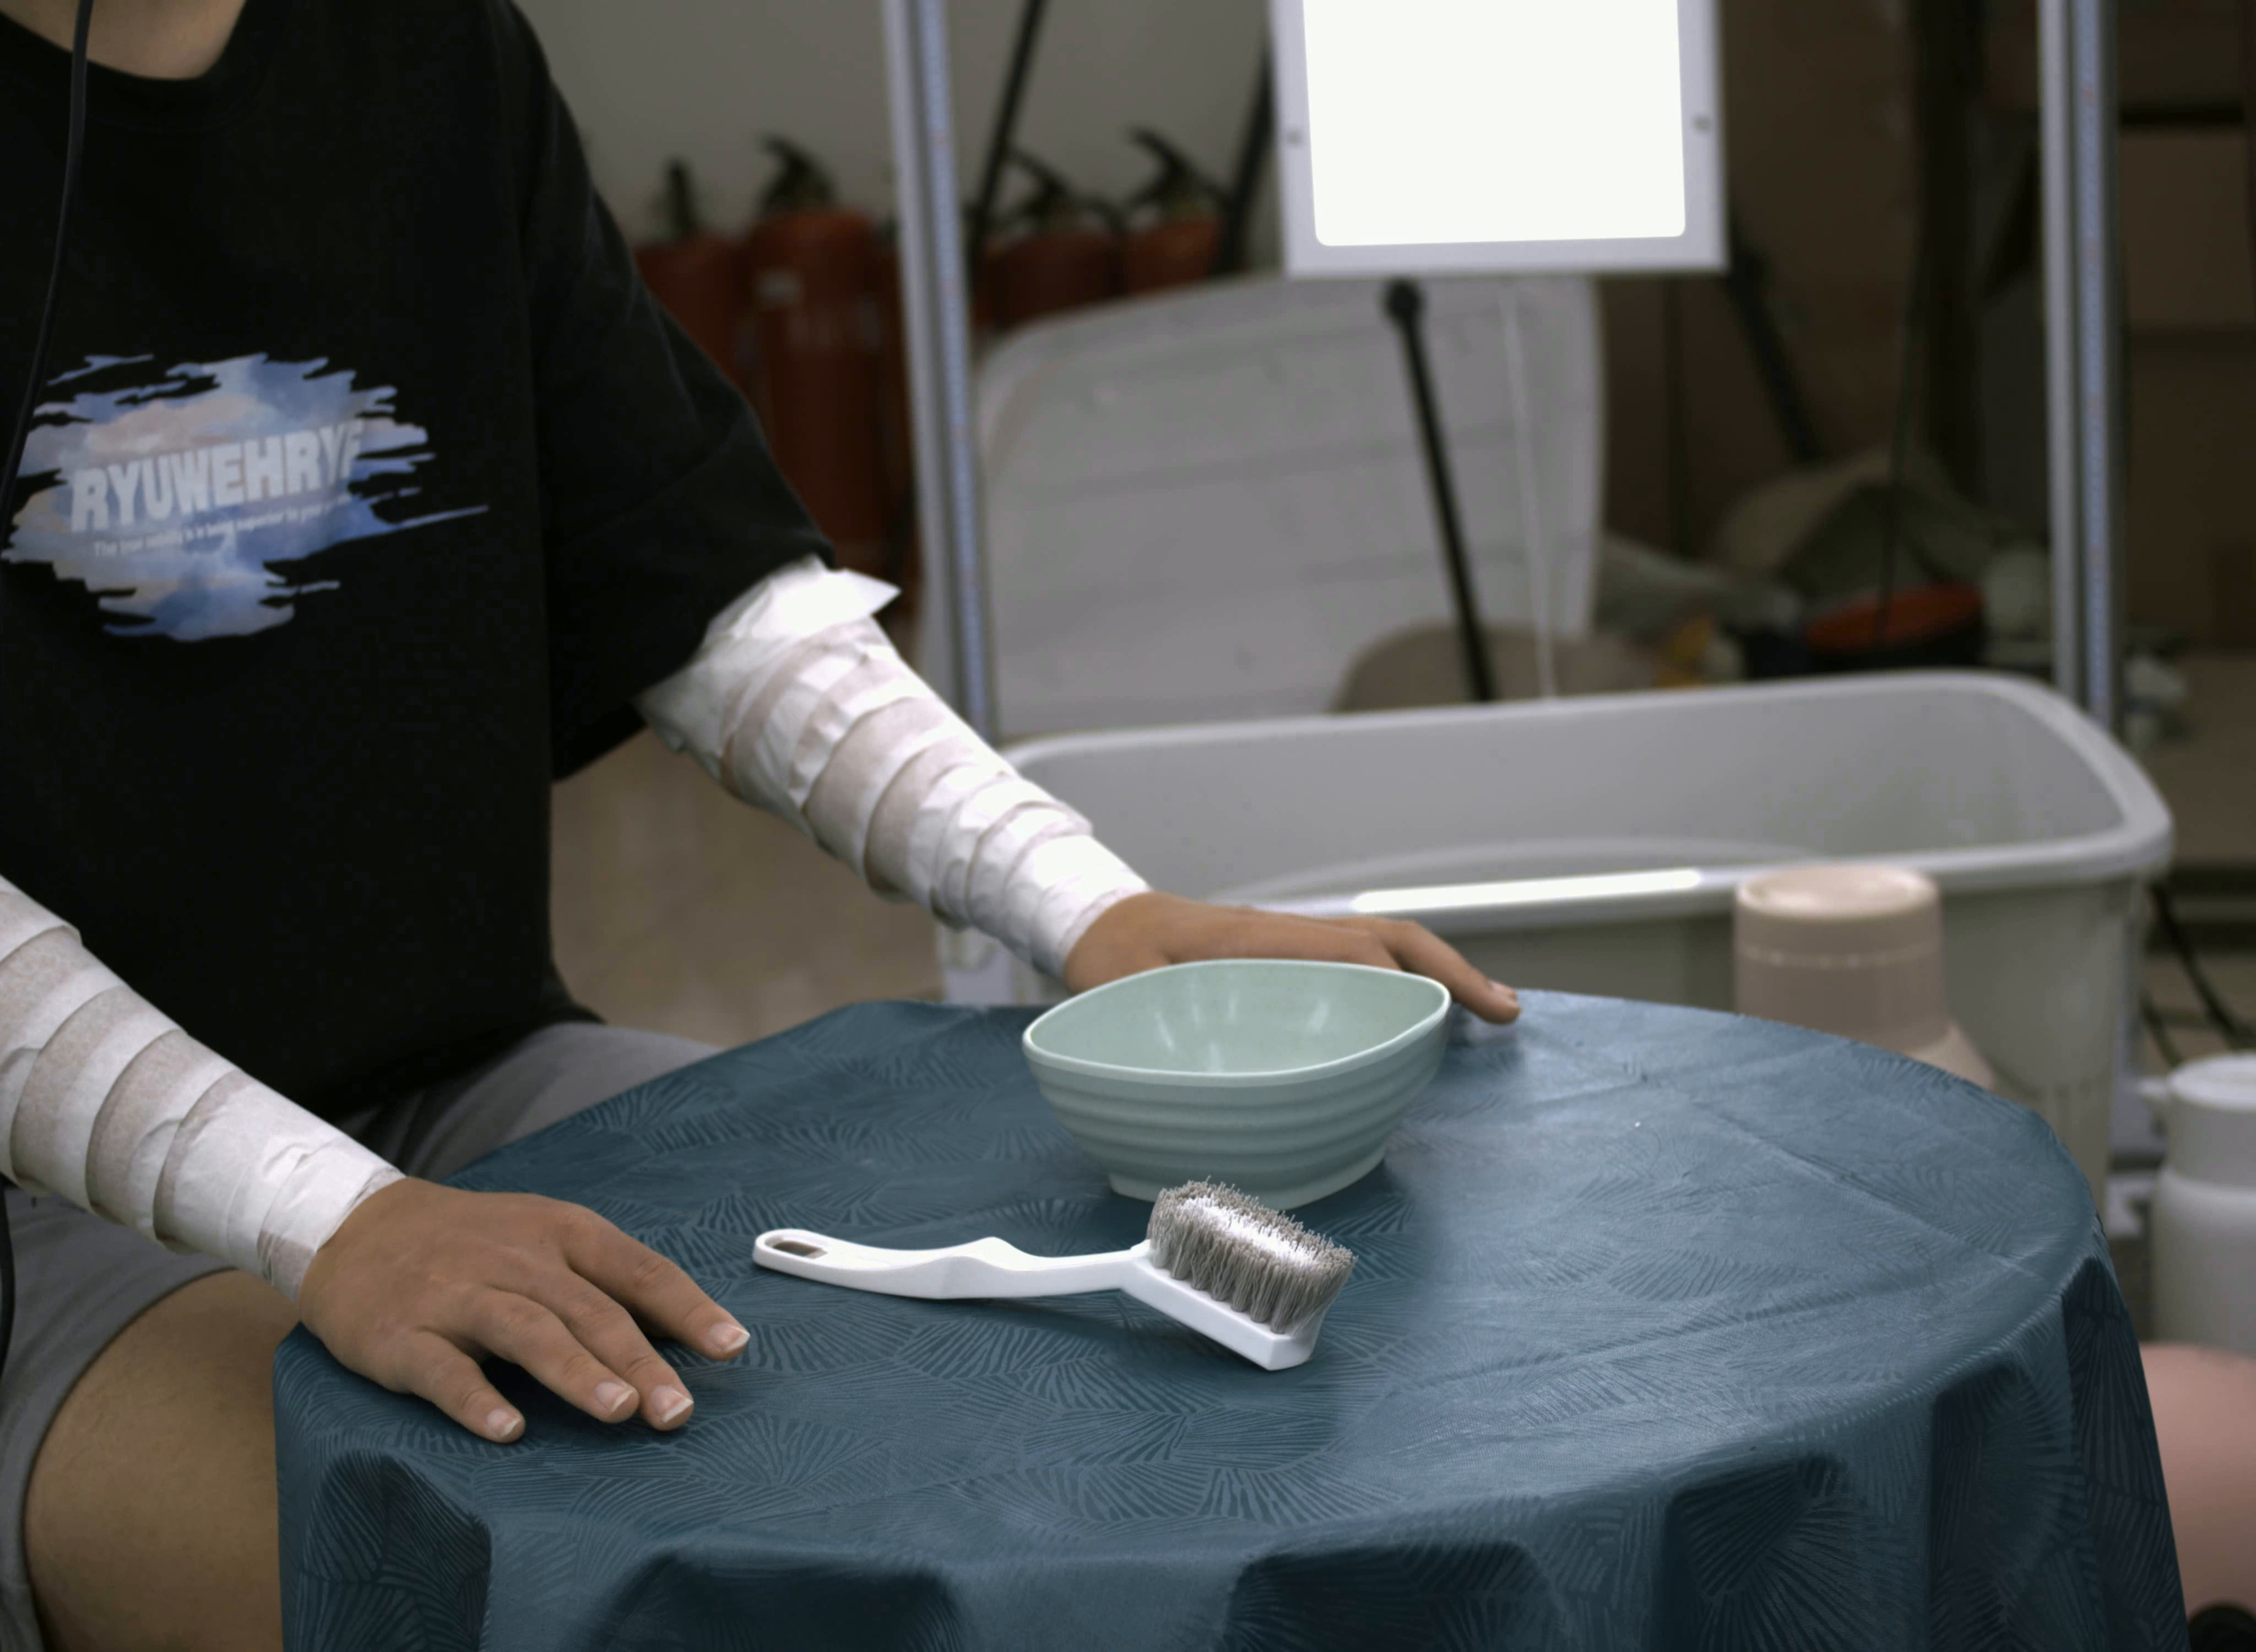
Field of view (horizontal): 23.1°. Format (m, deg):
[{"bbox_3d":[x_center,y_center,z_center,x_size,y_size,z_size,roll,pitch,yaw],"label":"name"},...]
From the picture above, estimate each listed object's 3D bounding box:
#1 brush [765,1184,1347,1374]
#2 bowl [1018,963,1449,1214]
[{"bbox_3d":[-0.030,0.132,1.780,0.249,0.050,0.033,8,21,43],"label":"brush"},{"bbox_3d":[0.039,0.093,1.902,0.151,0.059,0.151,-4,13,0],"label":"bowl"}]
